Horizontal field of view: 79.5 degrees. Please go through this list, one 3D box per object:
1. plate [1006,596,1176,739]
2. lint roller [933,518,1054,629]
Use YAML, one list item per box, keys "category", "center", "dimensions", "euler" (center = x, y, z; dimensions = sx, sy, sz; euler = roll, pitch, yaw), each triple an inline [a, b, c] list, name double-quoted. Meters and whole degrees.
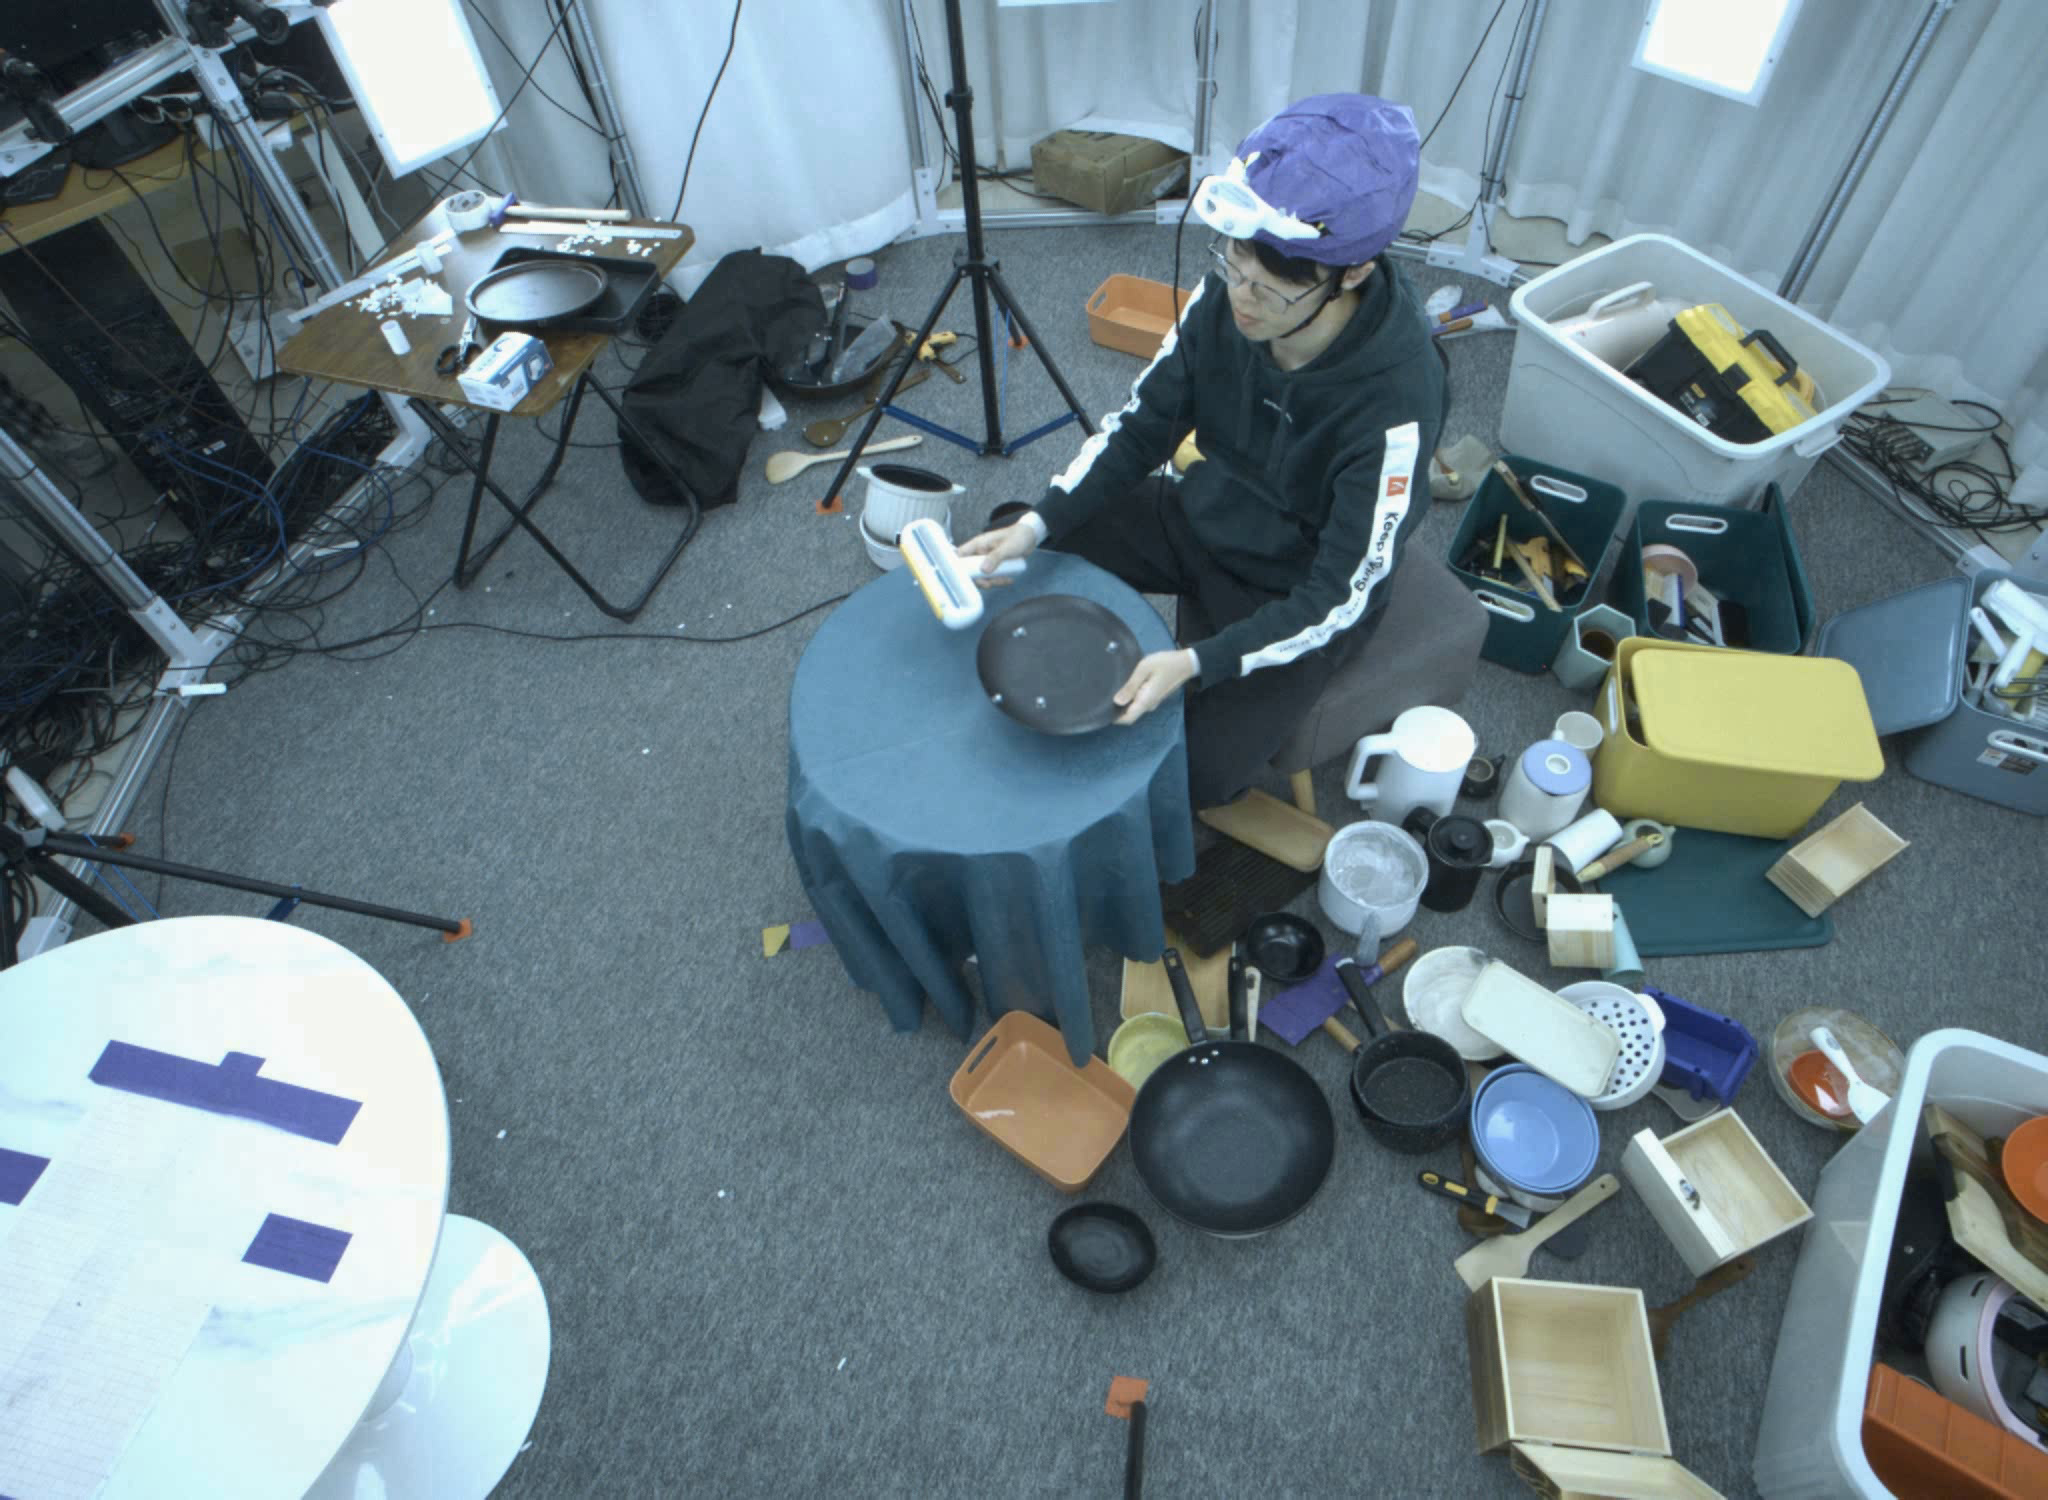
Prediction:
- category: "plate"
  center: [0.095, -0.117, 1.765]
  dimensions: [0.245, 0.023, 0.242]
  euler: [3, 61, -5]
- category: "lint roller"
  center: [-0.033, -0.266, 1.877]
  dimensions: [0.196, 0.074, 0.190]
  euler: [-6, 58, -32]
